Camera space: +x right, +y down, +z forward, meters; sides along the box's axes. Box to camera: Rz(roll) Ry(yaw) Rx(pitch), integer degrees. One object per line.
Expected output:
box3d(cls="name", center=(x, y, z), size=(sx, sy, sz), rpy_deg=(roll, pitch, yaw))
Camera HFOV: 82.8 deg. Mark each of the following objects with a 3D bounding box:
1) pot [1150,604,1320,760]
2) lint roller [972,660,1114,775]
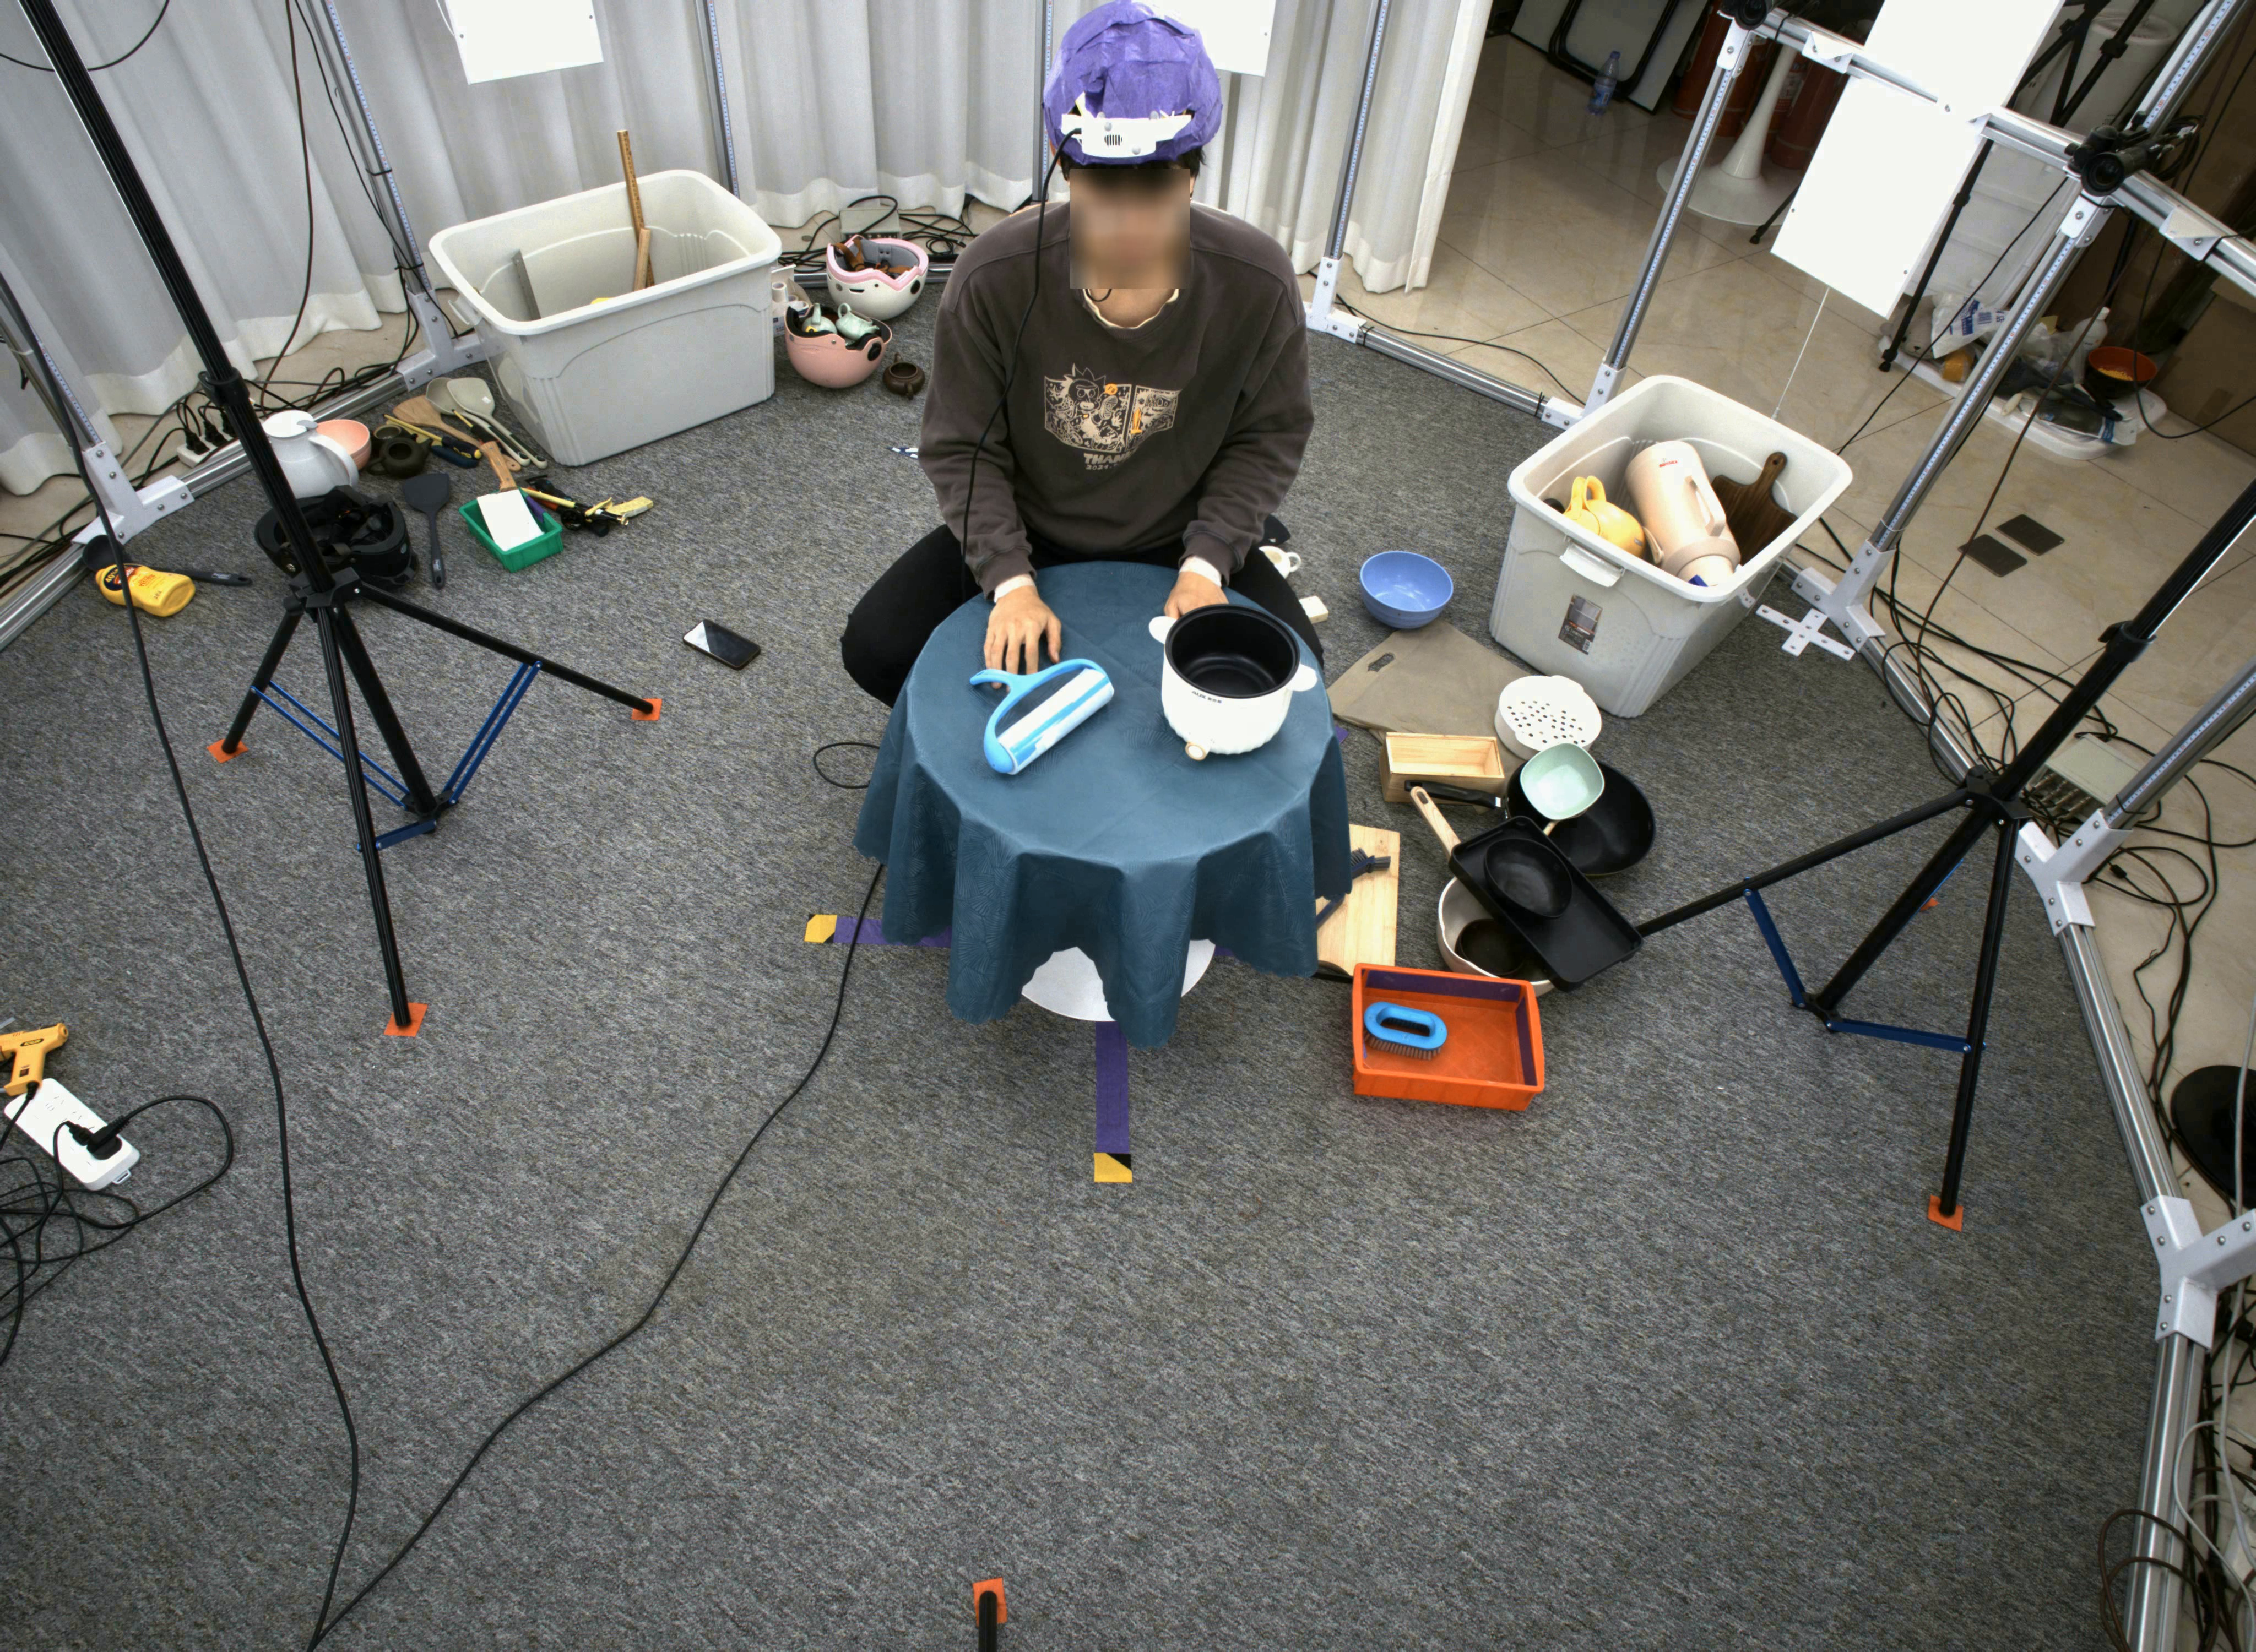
box3d(cls="pot", center=(0.135, -0.190, 1.749), size=(0.242, 0.139, 0.194), rpy_deg=(20, 48, 15))
box3d(cls="lint roller", center=(-0.148, -0.175, 1.772), size=(0.182, 0.066, 0.232), rpy_deg=(33, 56, 21))
